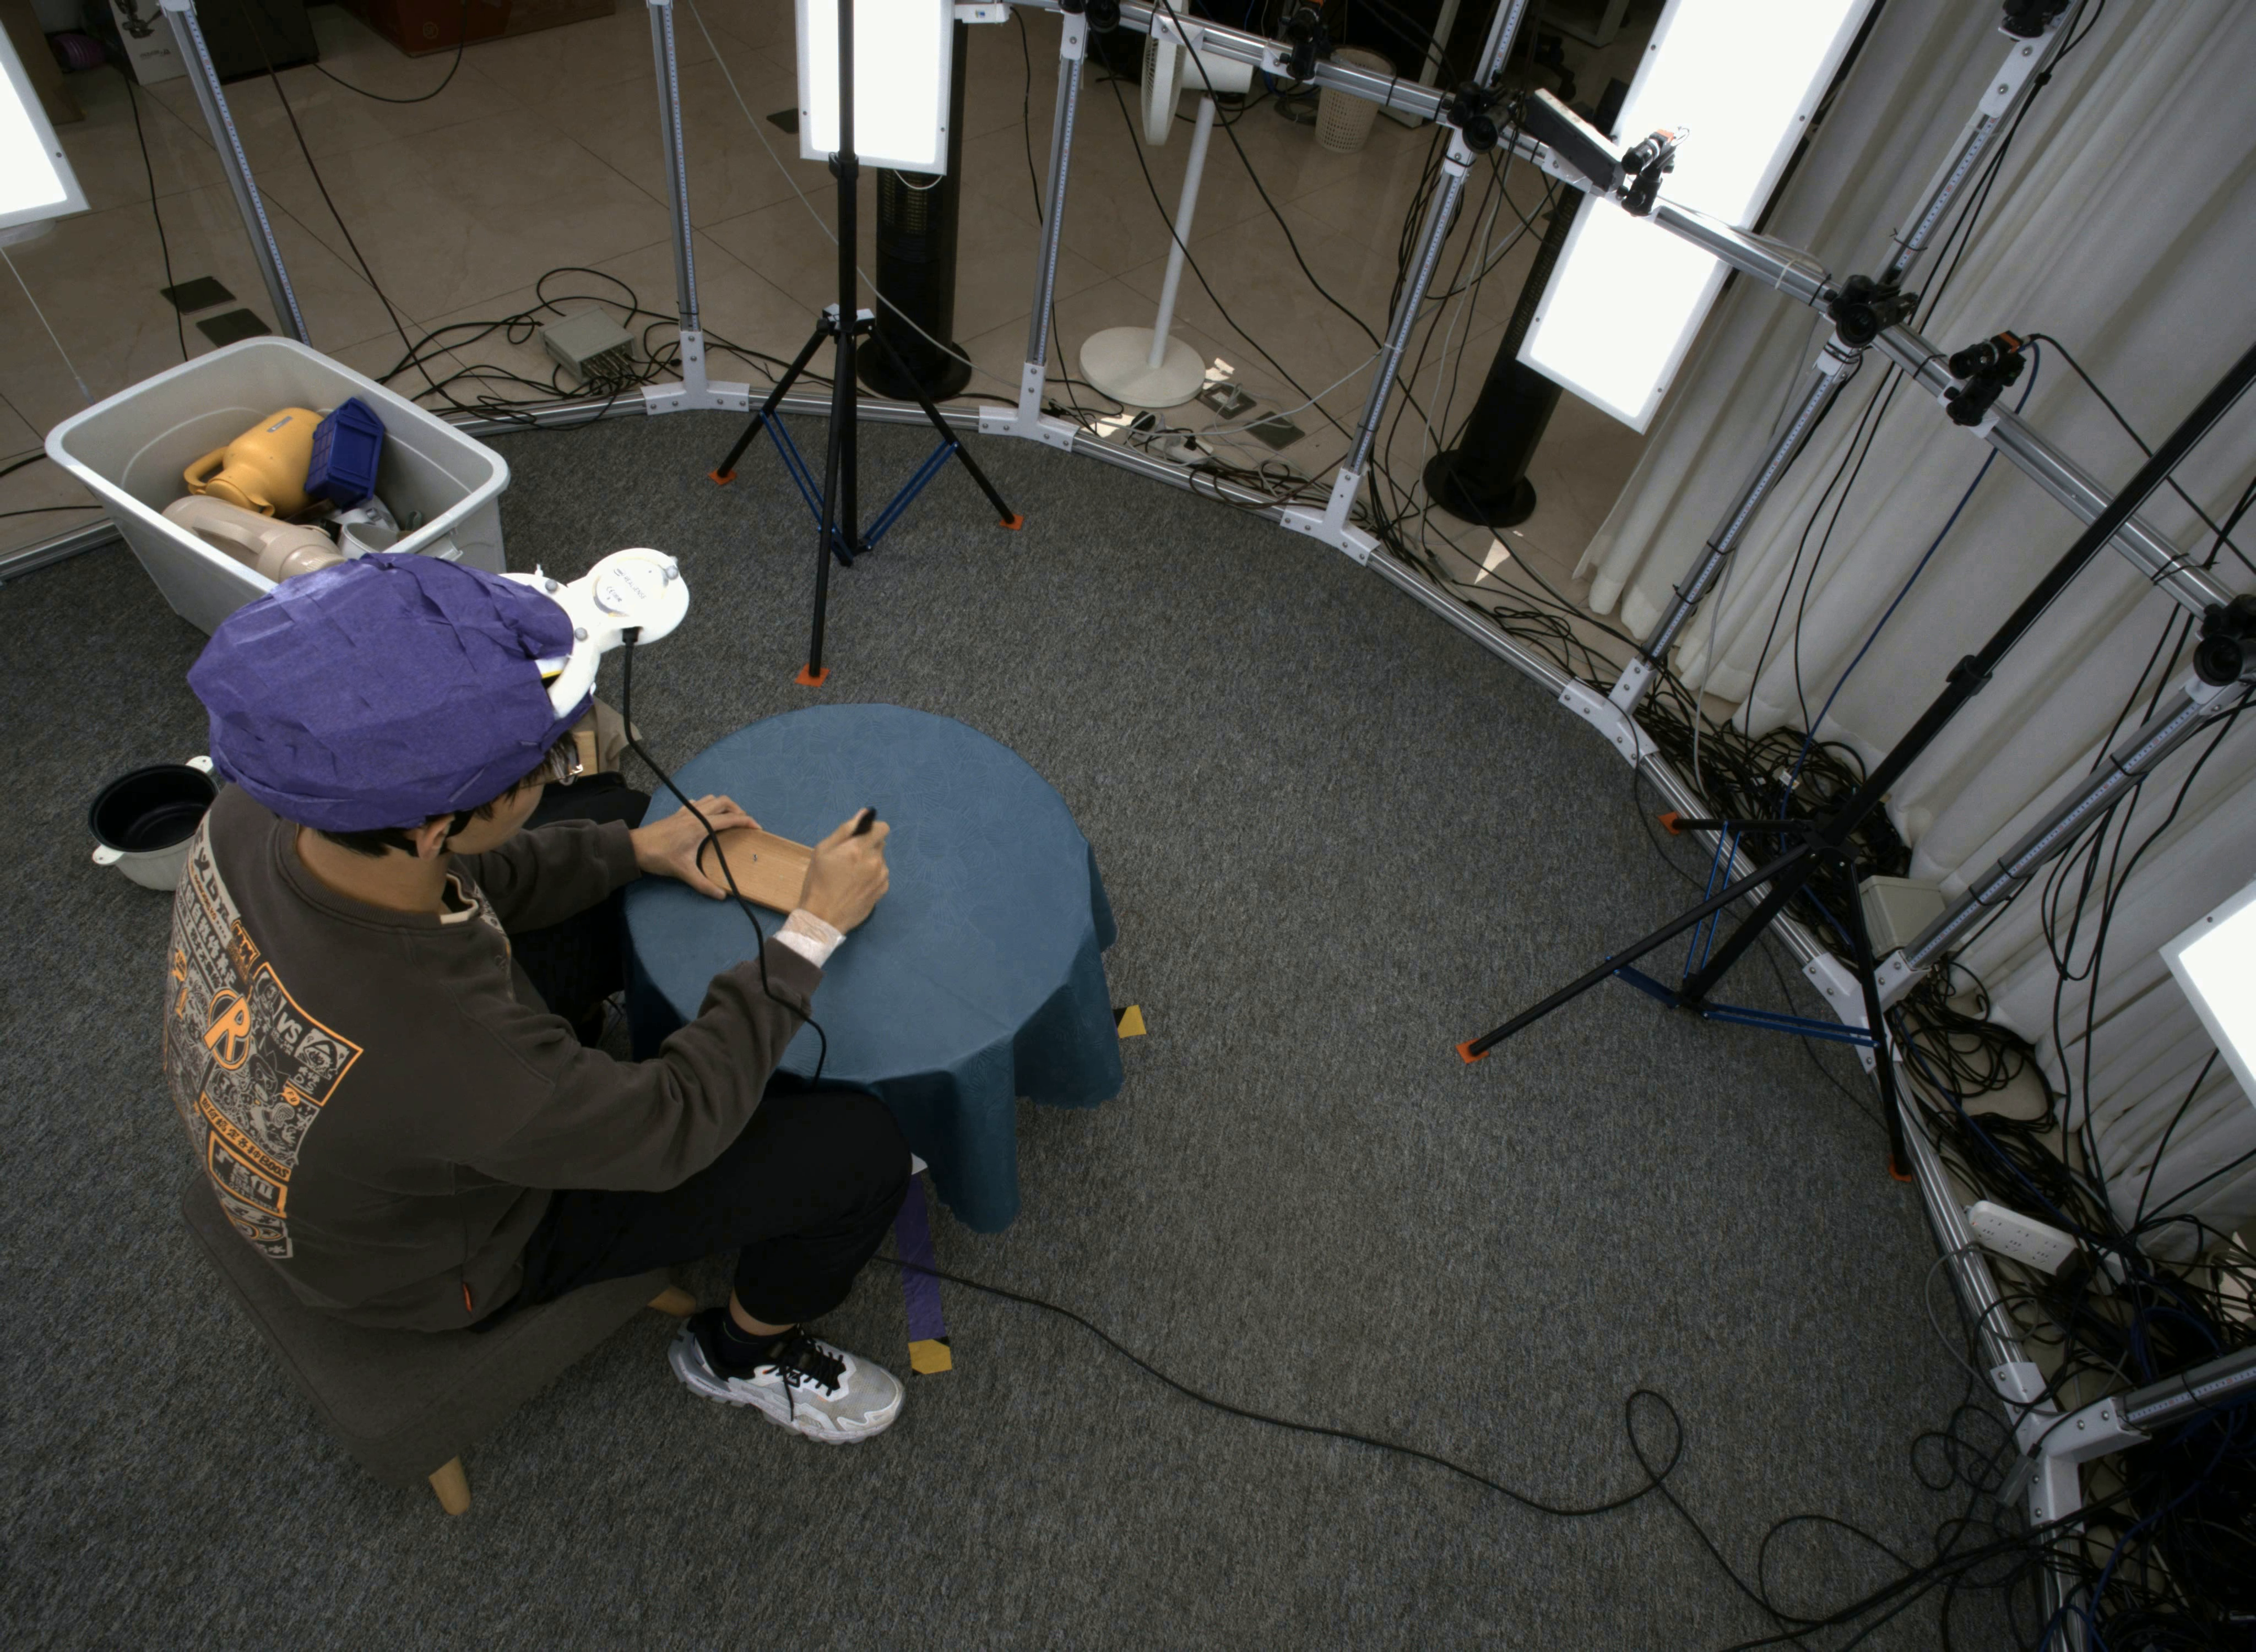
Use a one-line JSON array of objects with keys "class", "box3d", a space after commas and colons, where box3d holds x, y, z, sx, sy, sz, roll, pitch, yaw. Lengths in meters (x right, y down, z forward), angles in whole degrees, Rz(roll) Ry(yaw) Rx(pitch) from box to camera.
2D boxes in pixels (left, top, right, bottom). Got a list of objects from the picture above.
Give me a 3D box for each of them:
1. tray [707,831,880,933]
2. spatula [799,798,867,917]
[{"class": "tray", "box3d": [-0.432, 0.071, 1.672, 0.229, 0.020, 0.100, 20, 54, -1]}, {"class": "spatula", "box3d": [-0.332, 0.029, 1.509, 0.040, 0.328, 0.099, 40, 62, 4]}]
